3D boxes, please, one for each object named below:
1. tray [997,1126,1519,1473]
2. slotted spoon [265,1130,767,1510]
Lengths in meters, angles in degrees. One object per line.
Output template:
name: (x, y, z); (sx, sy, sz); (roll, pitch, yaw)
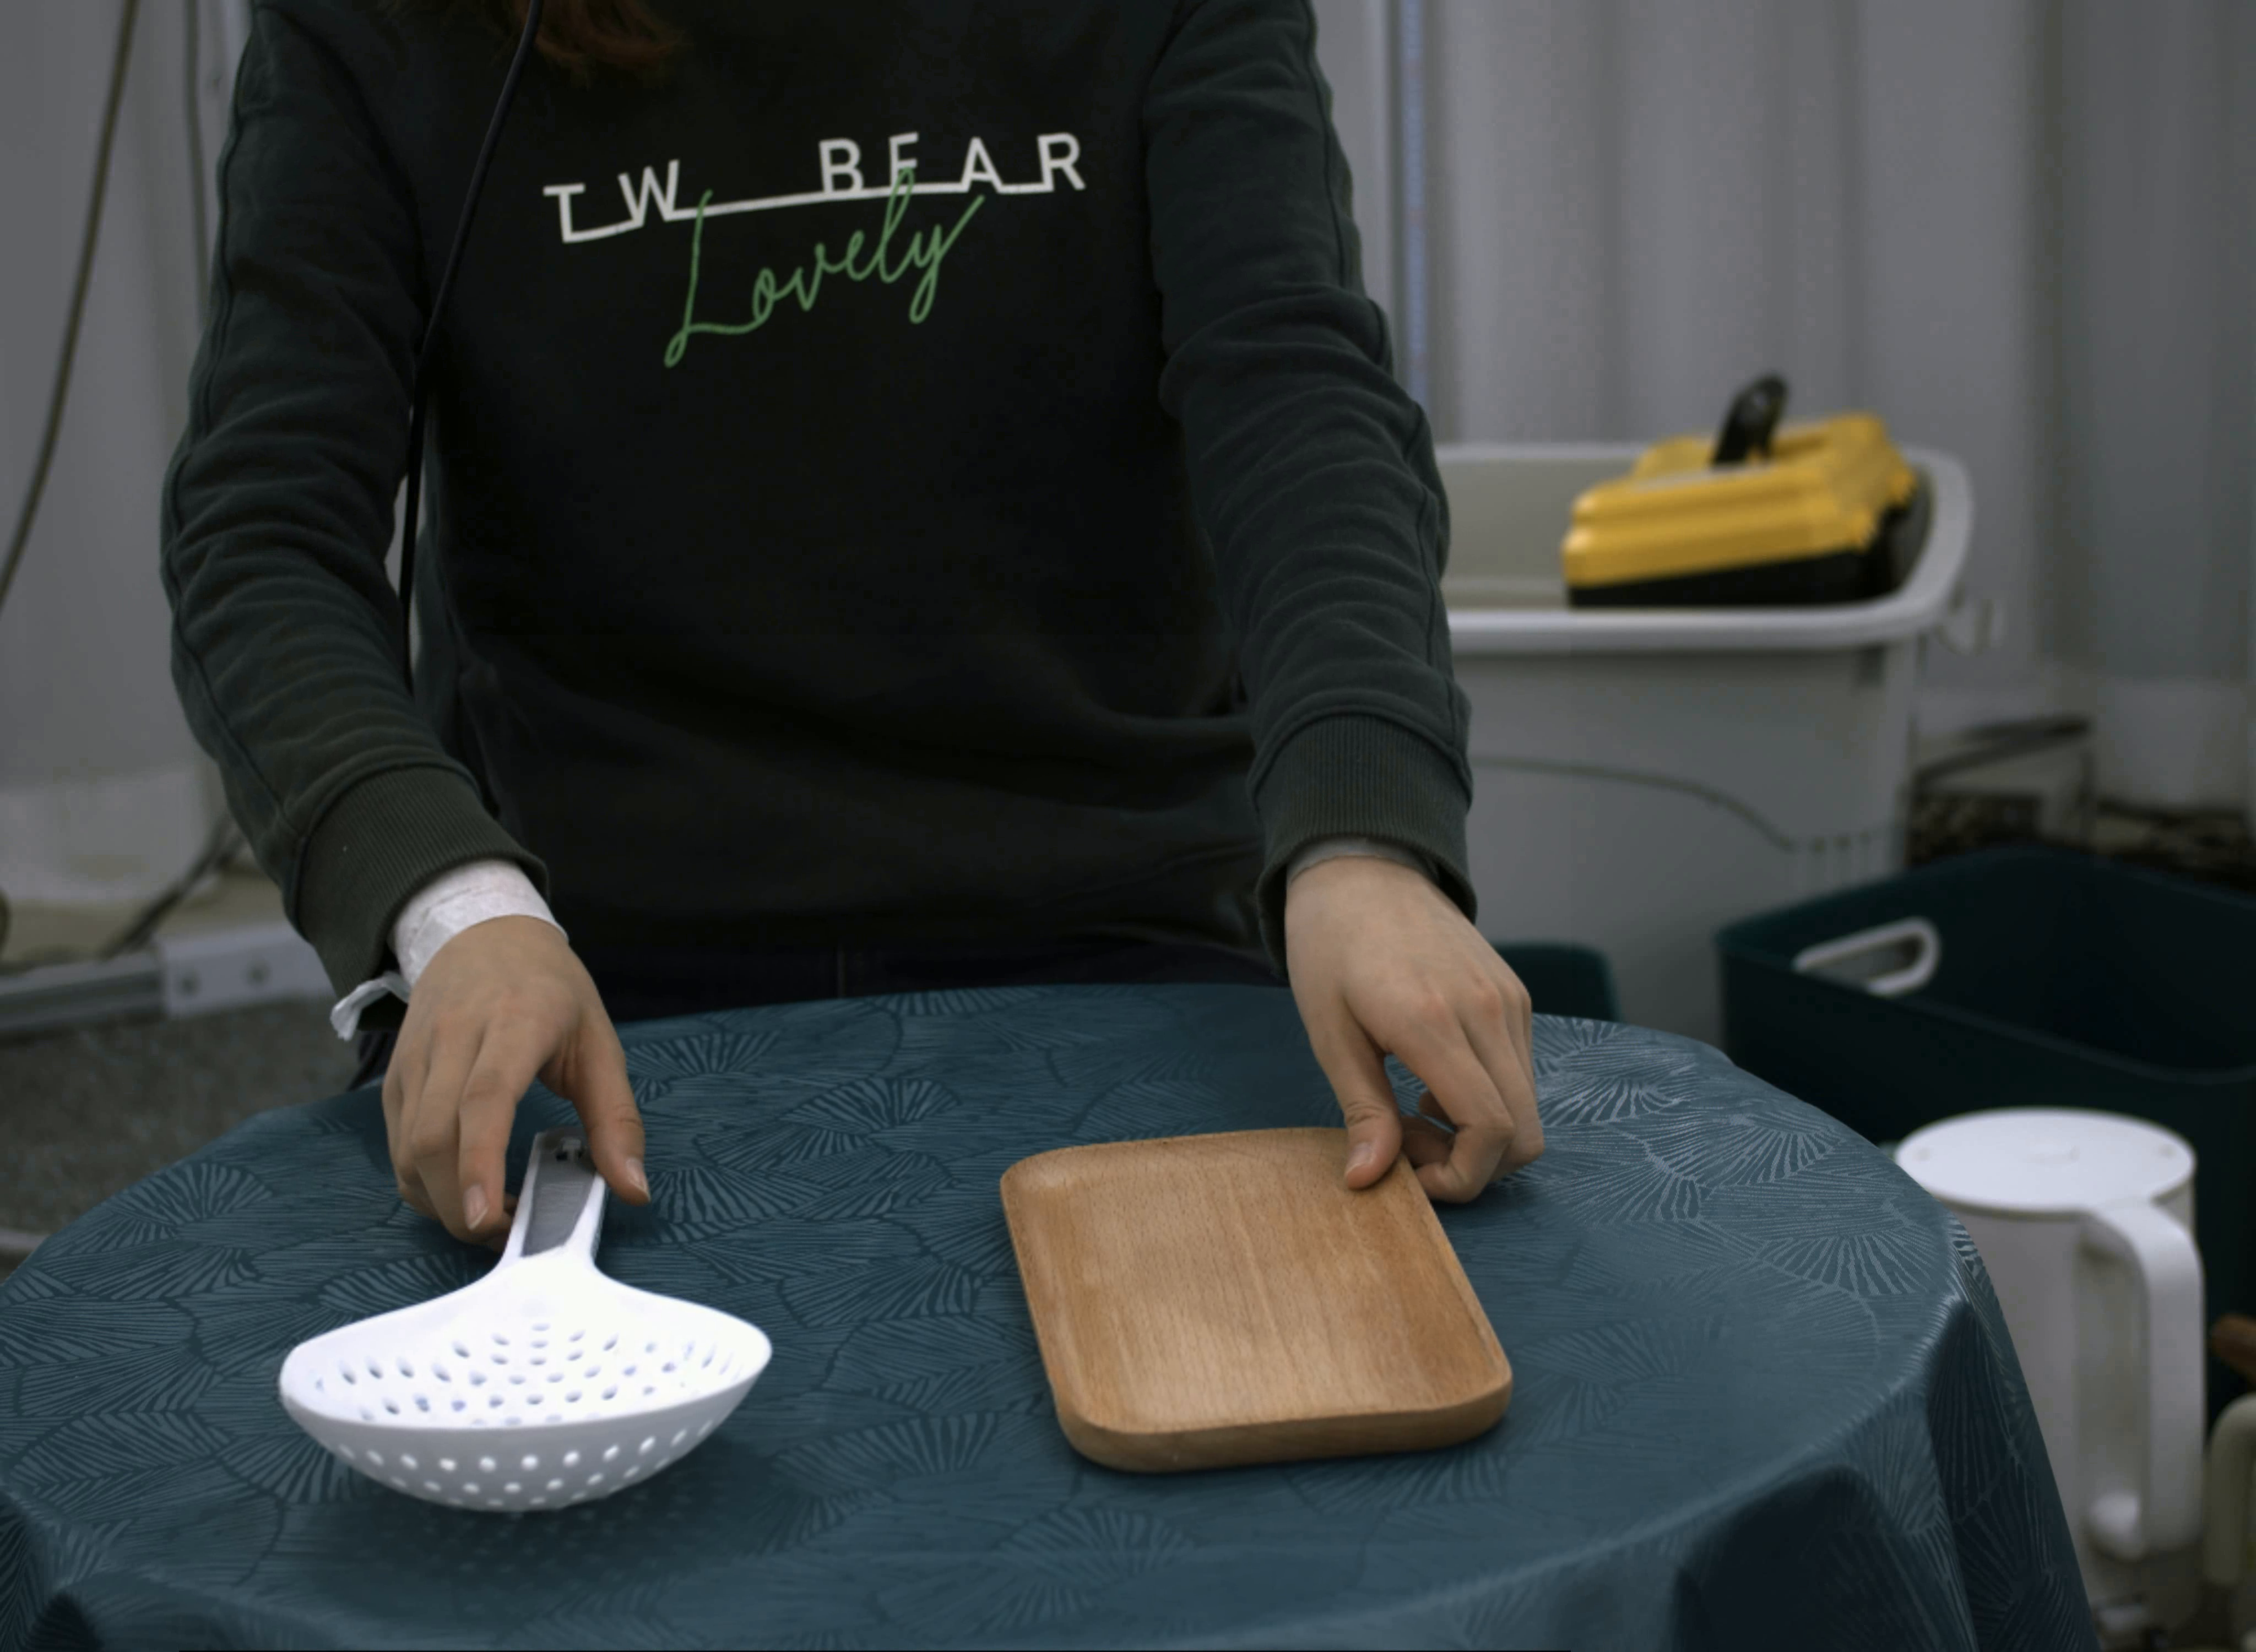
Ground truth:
tray: (0.034, 0.136, 1.598); (0.130, 0.023, 0.252); (-2, 14, -5)
slotted spoon: (-0.170, 0.134, 1.587); (0.135, 0.045, 0.352); (-1, 14, -2)
